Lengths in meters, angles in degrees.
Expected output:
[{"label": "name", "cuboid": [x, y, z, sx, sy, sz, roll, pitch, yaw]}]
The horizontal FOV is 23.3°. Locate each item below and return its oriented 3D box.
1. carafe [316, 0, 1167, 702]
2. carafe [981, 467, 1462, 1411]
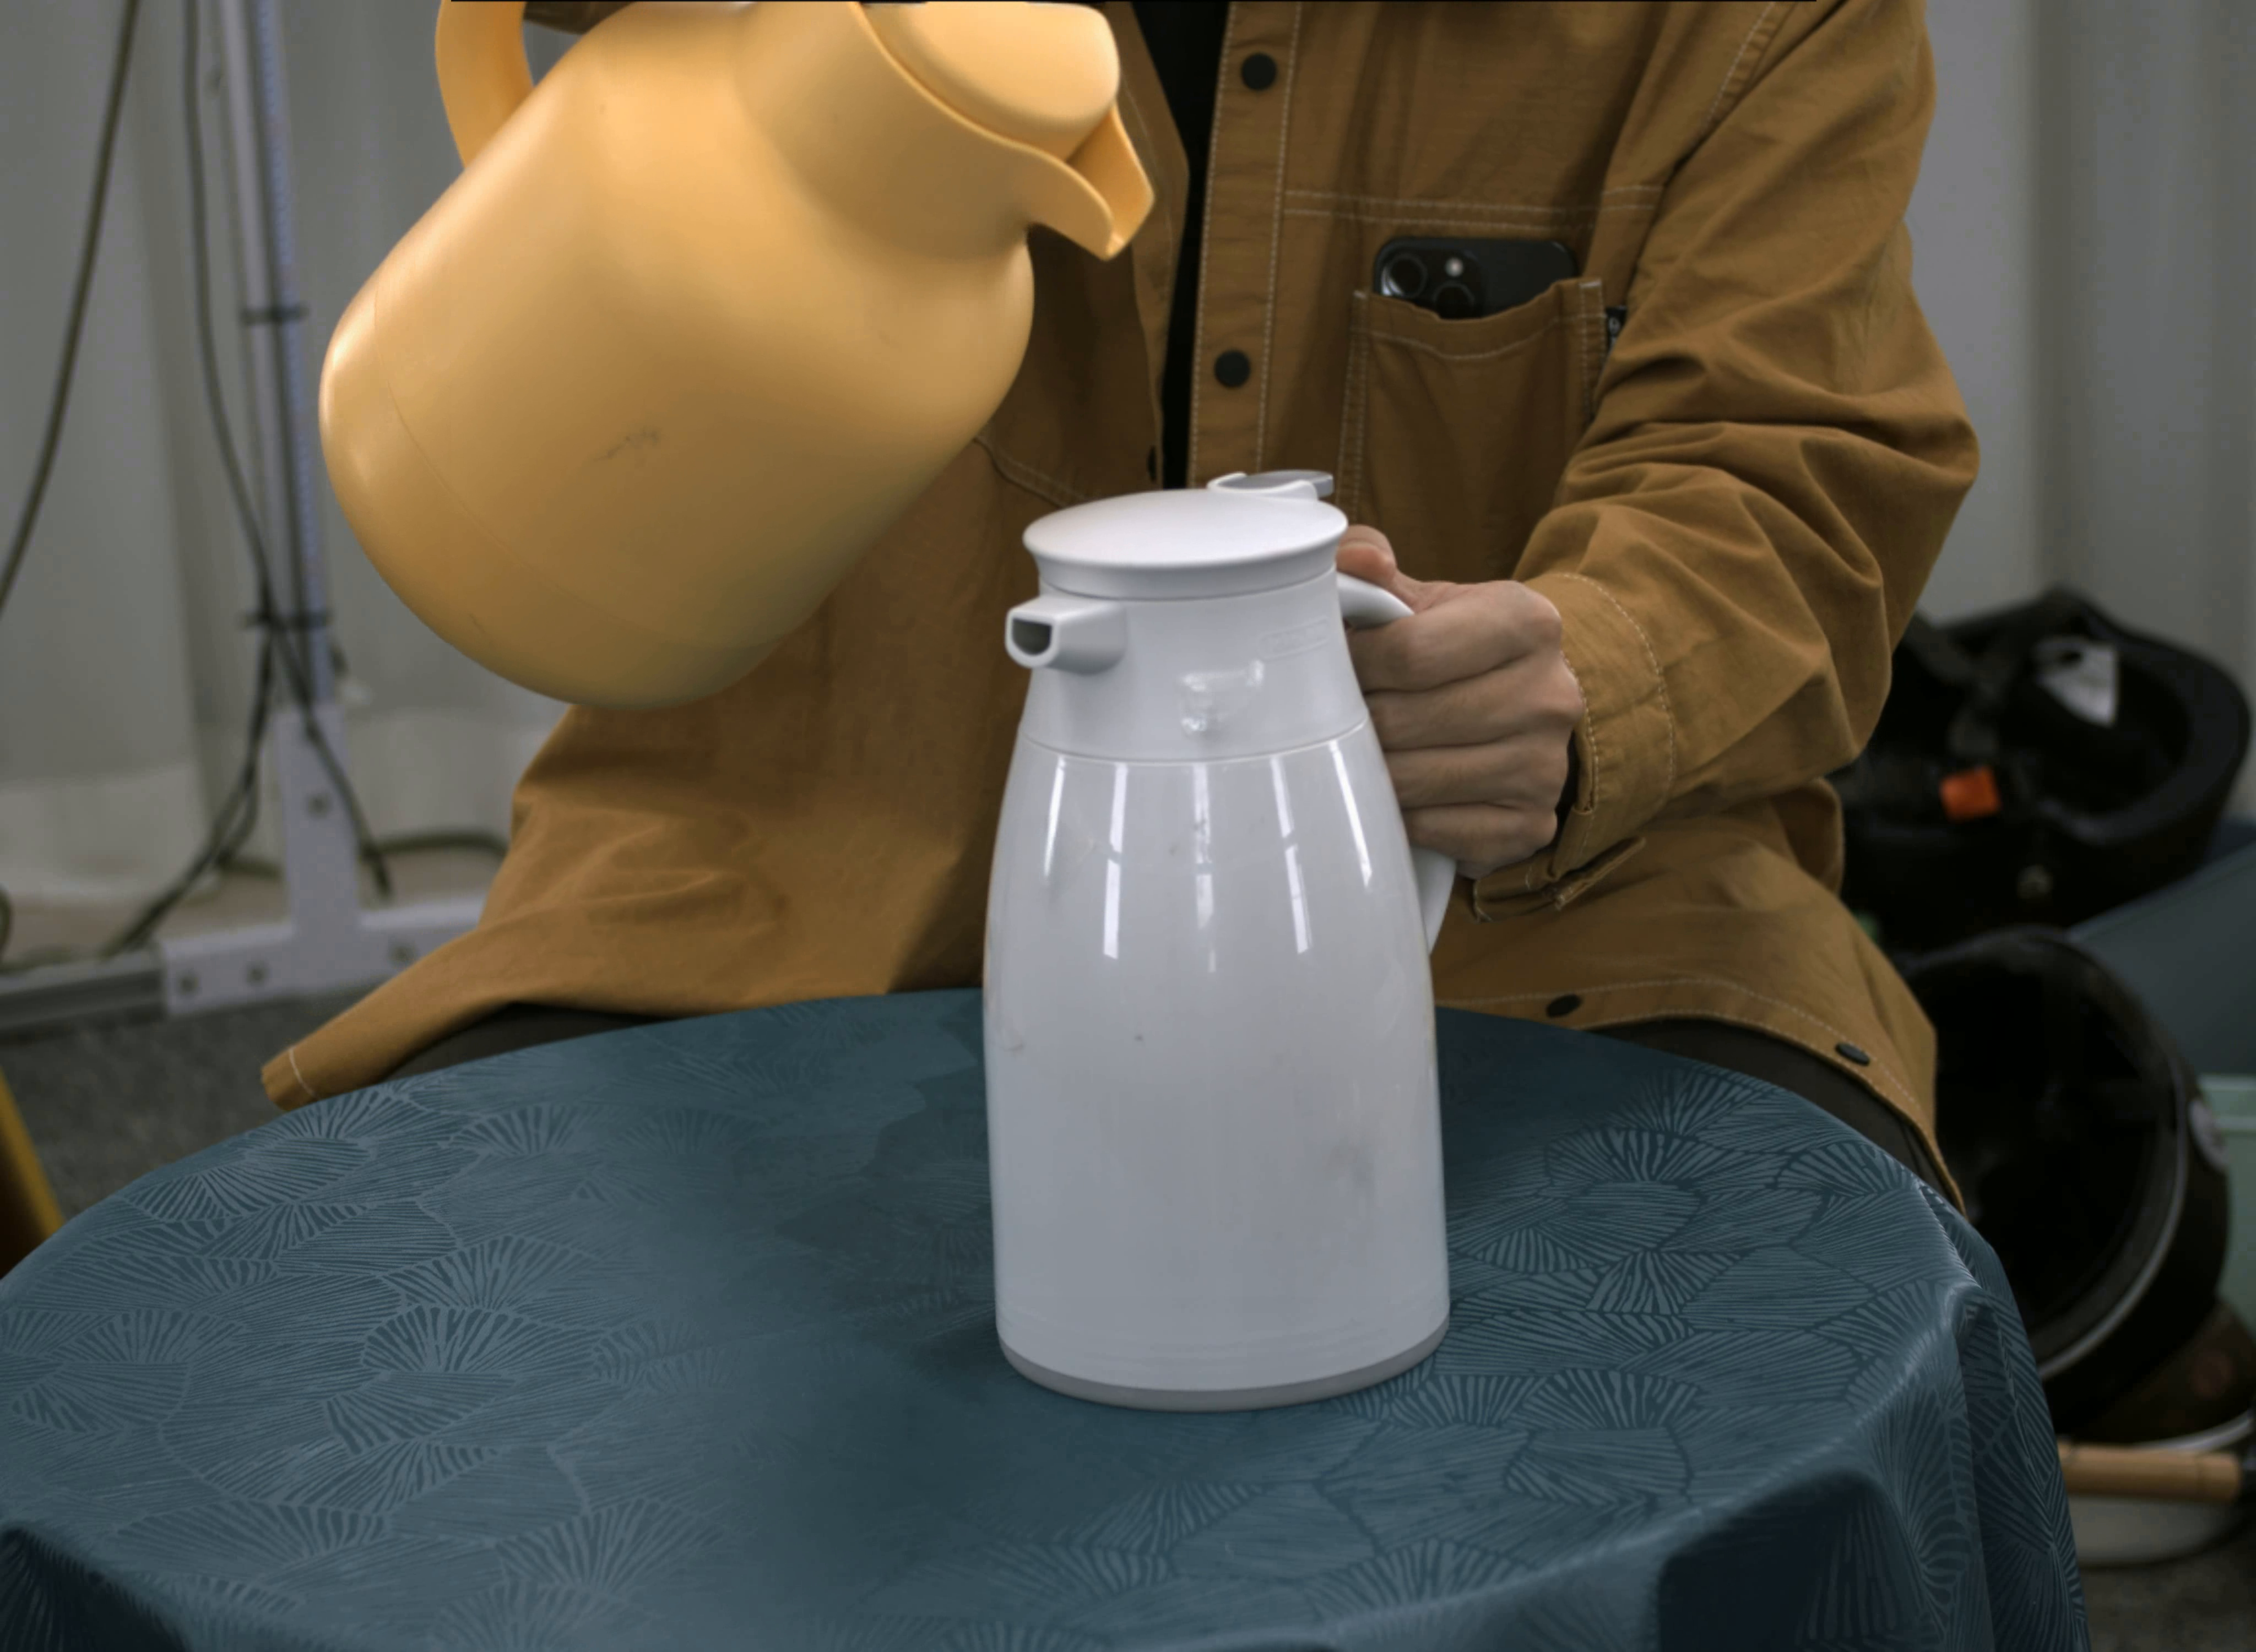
[{"label": "carafe", "cuboid": [-0.120, -0.177, 1.582, 0.259, 0.203, 0.164, -41, -4, 32]}, {"label": "carafe", "cuboid": [0.034, 0.023, 1.572, 0.133, 0.248, 0.167, 10, 18, 43]}]
